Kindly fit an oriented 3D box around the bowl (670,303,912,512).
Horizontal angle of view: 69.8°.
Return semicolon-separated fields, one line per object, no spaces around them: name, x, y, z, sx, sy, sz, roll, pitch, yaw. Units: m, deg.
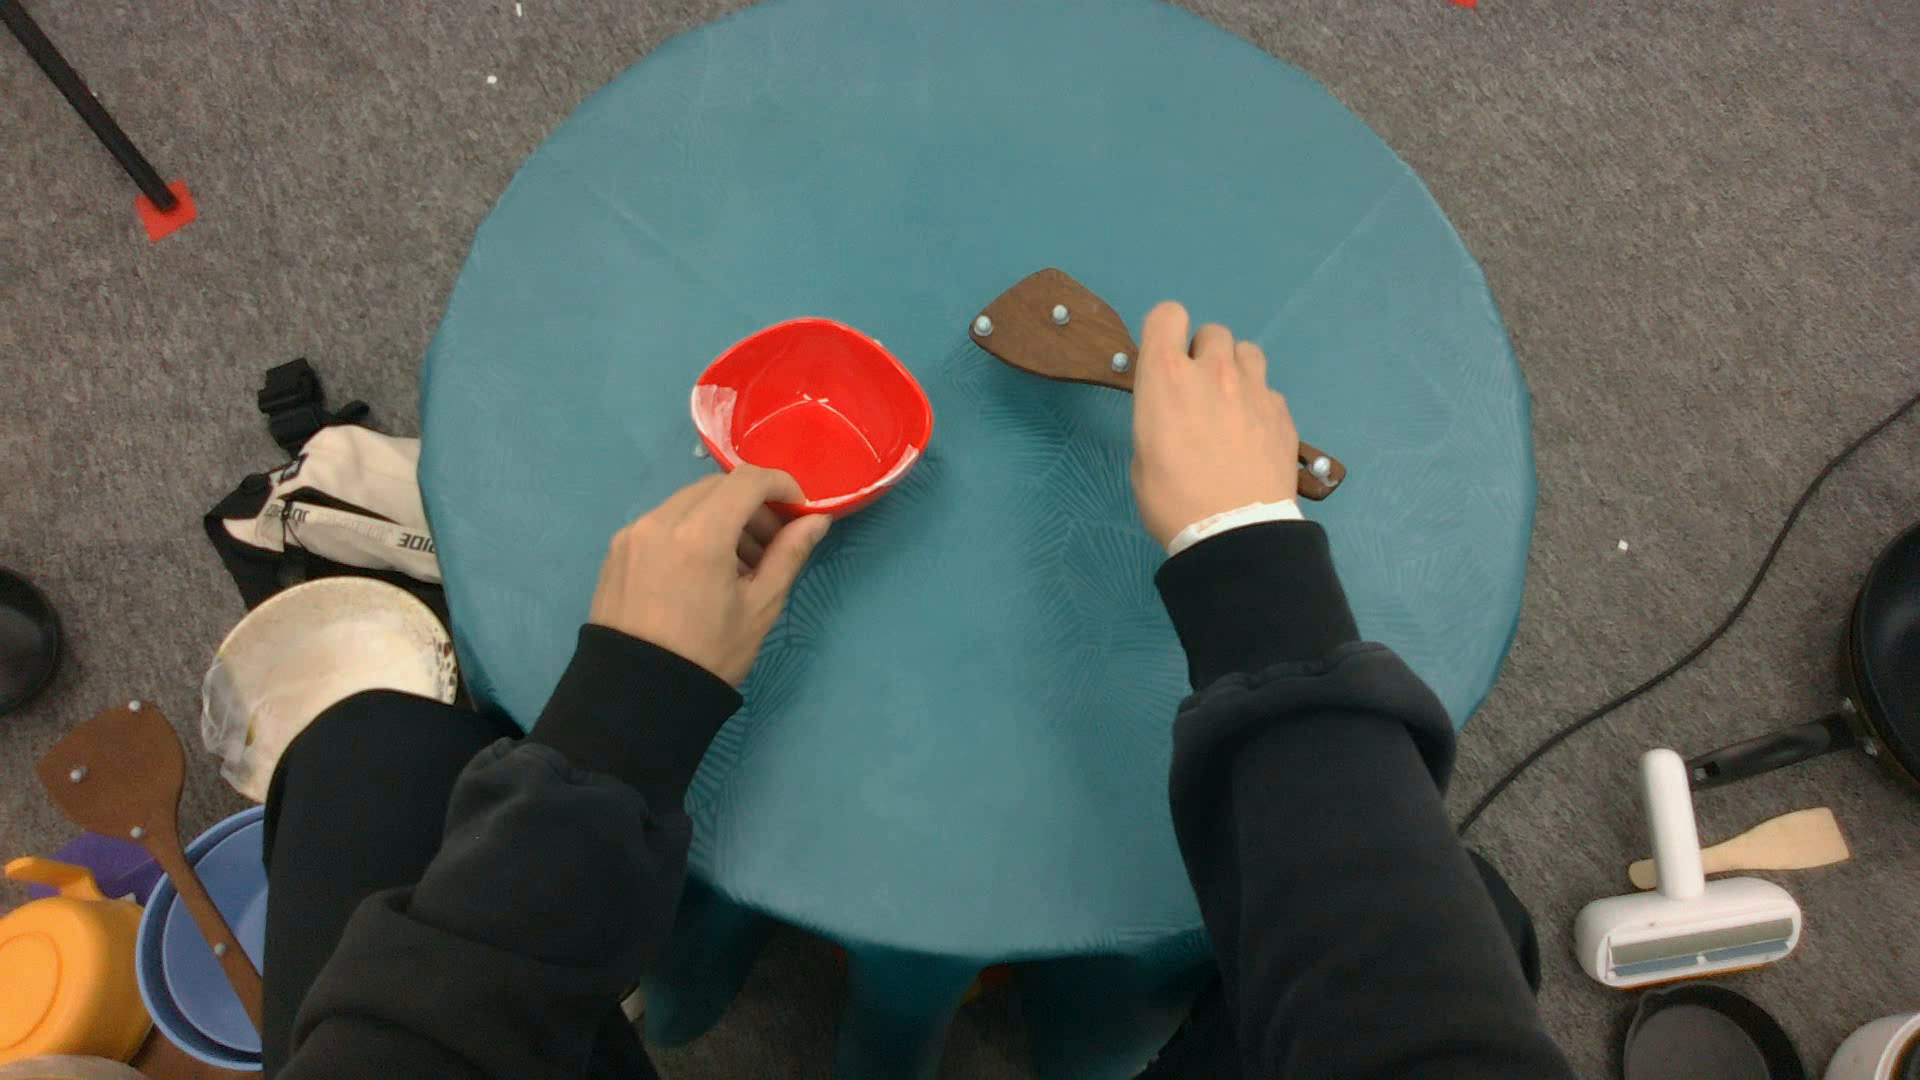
bowl;-0.087;-0.059;0.695;0.119;0.051;0.119;7;55;-10

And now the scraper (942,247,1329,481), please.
scraper;0.088;-0.085;0.685;0.211;0.011;0.076;33;59;26
